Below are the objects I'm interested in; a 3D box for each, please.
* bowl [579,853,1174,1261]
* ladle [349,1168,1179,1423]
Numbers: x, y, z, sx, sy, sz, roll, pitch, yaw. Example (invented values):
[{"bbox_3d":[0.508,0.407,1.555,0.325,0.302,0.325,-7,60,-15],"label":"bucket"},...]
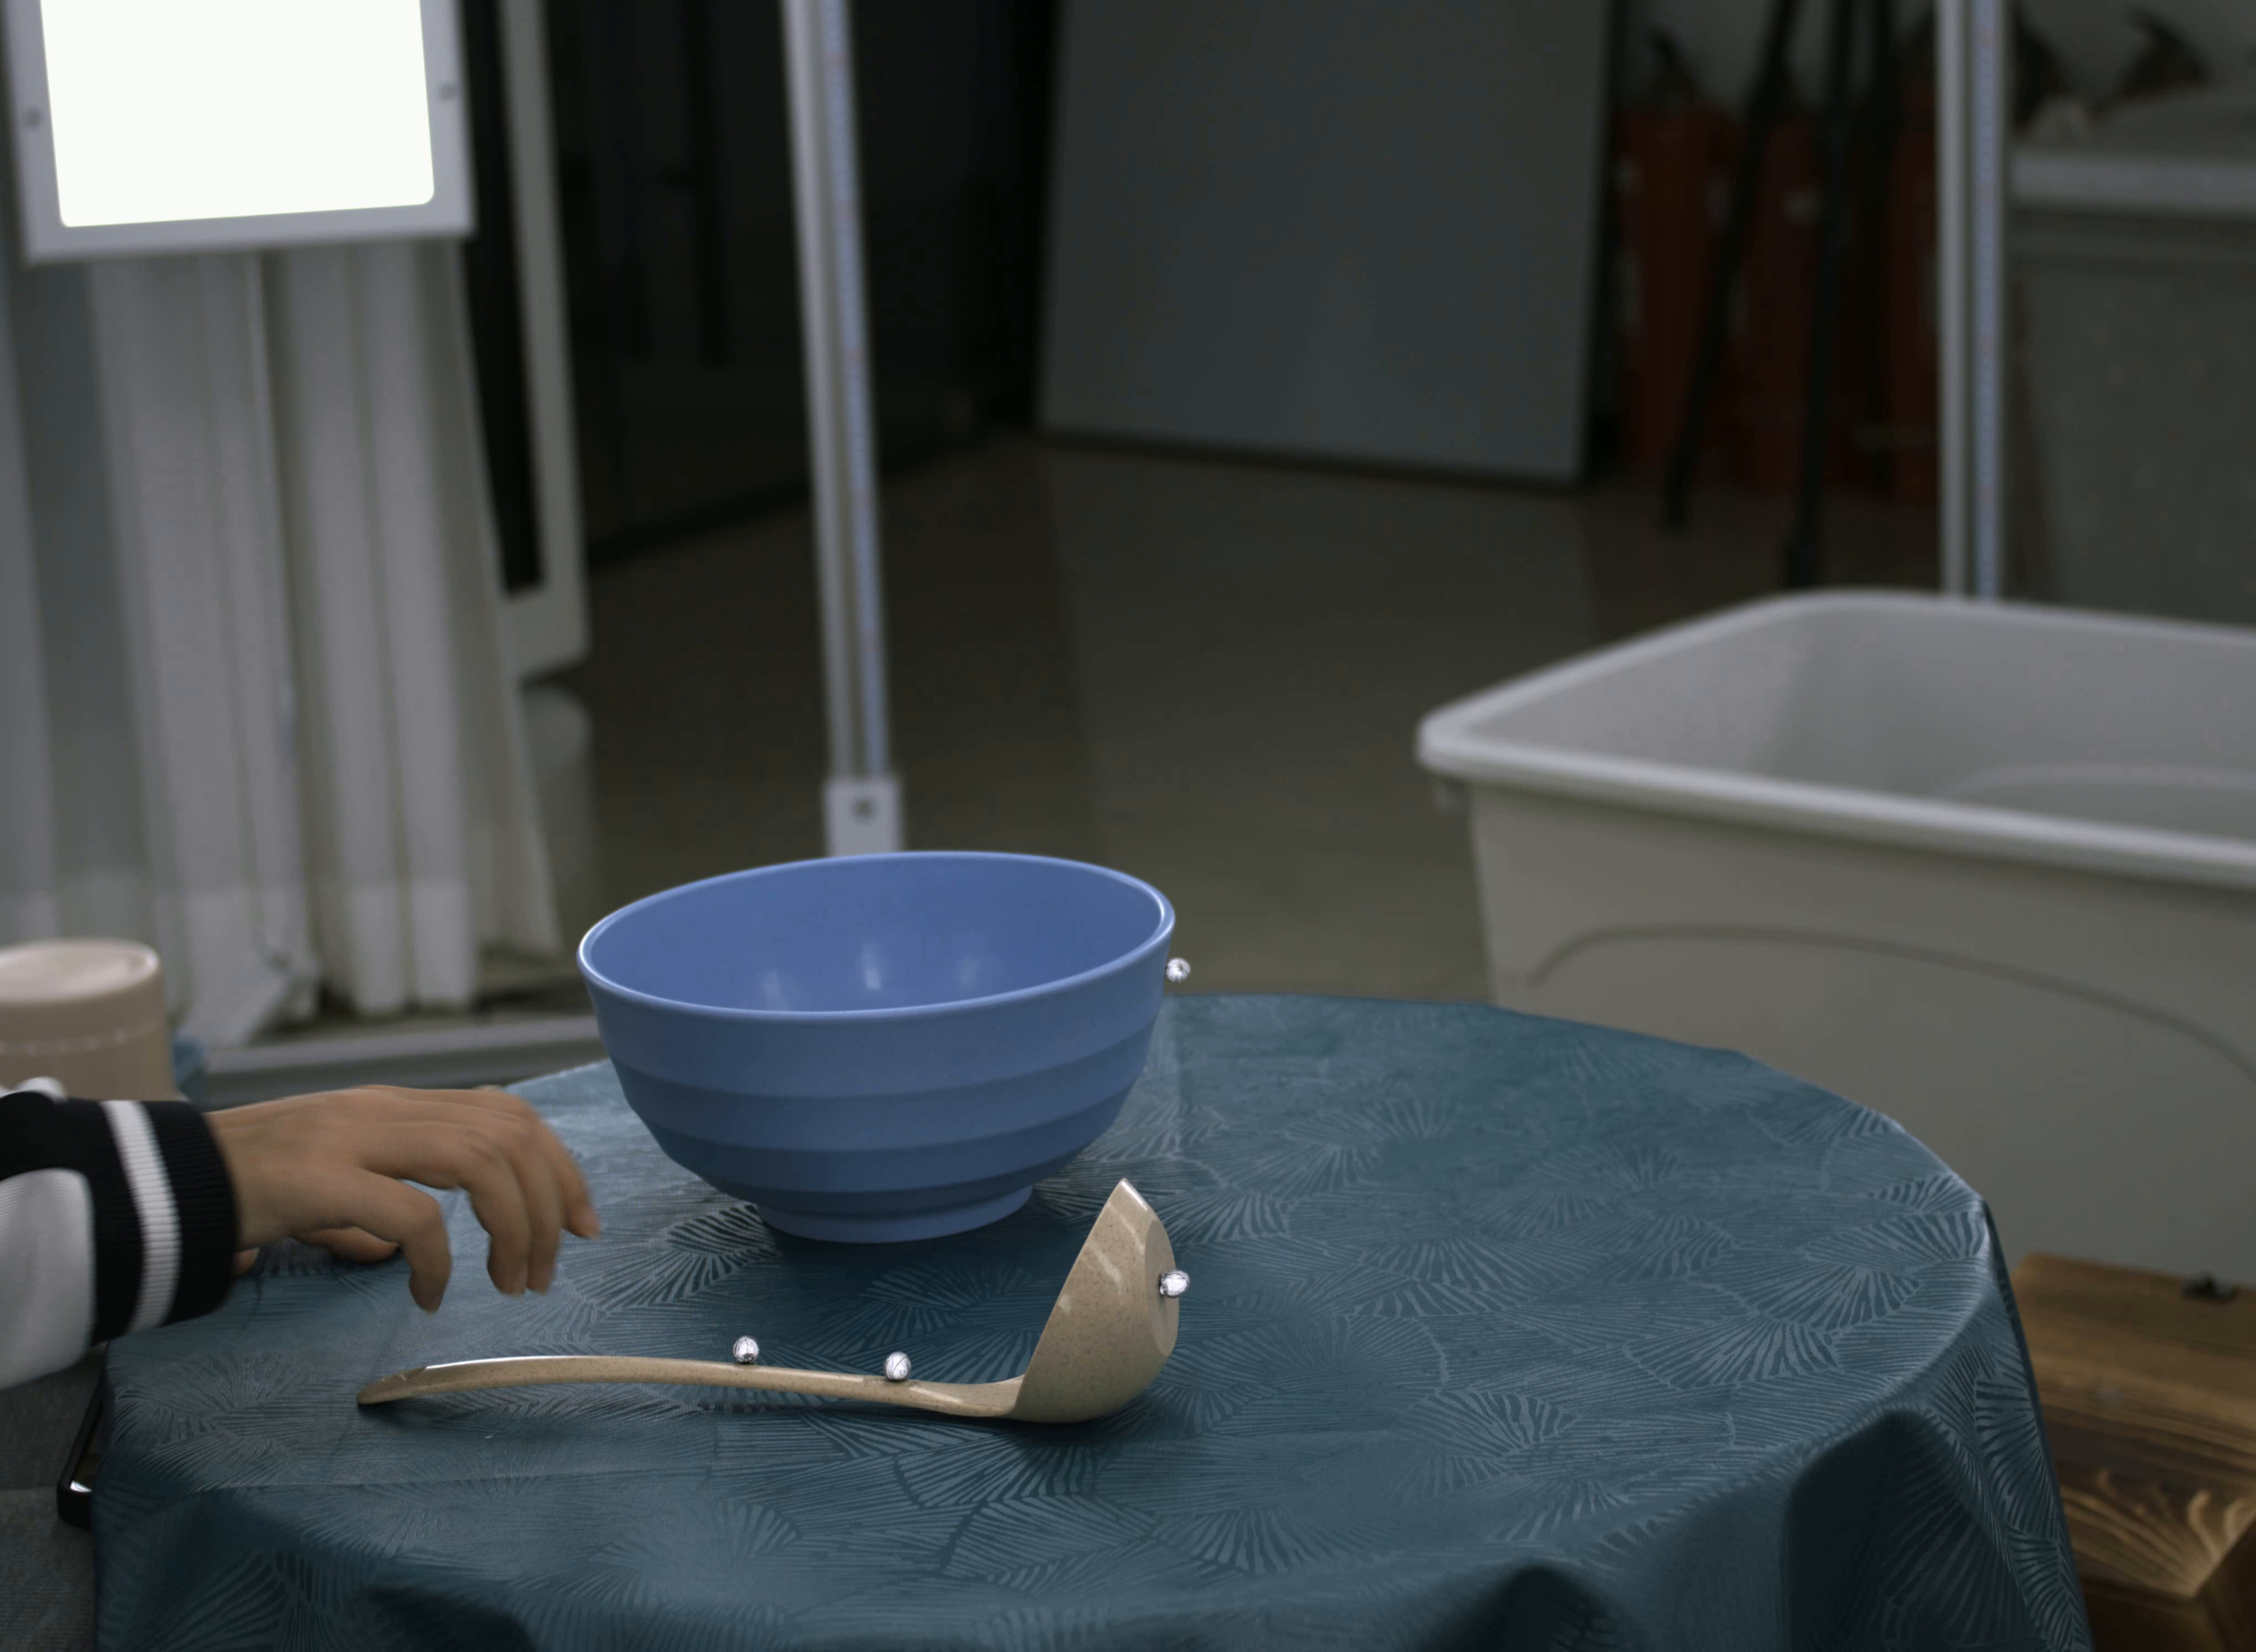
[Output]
[{"bbox_3d":[-0.079,0.082,1.768,0.194,0.096,0.197,-4,15,0],"label":"bowl"},{"bbox_3d":[-0.111,0.138,1.581,0.253,0.073,0.072,-1,12,13],"label":"ladle"}]
